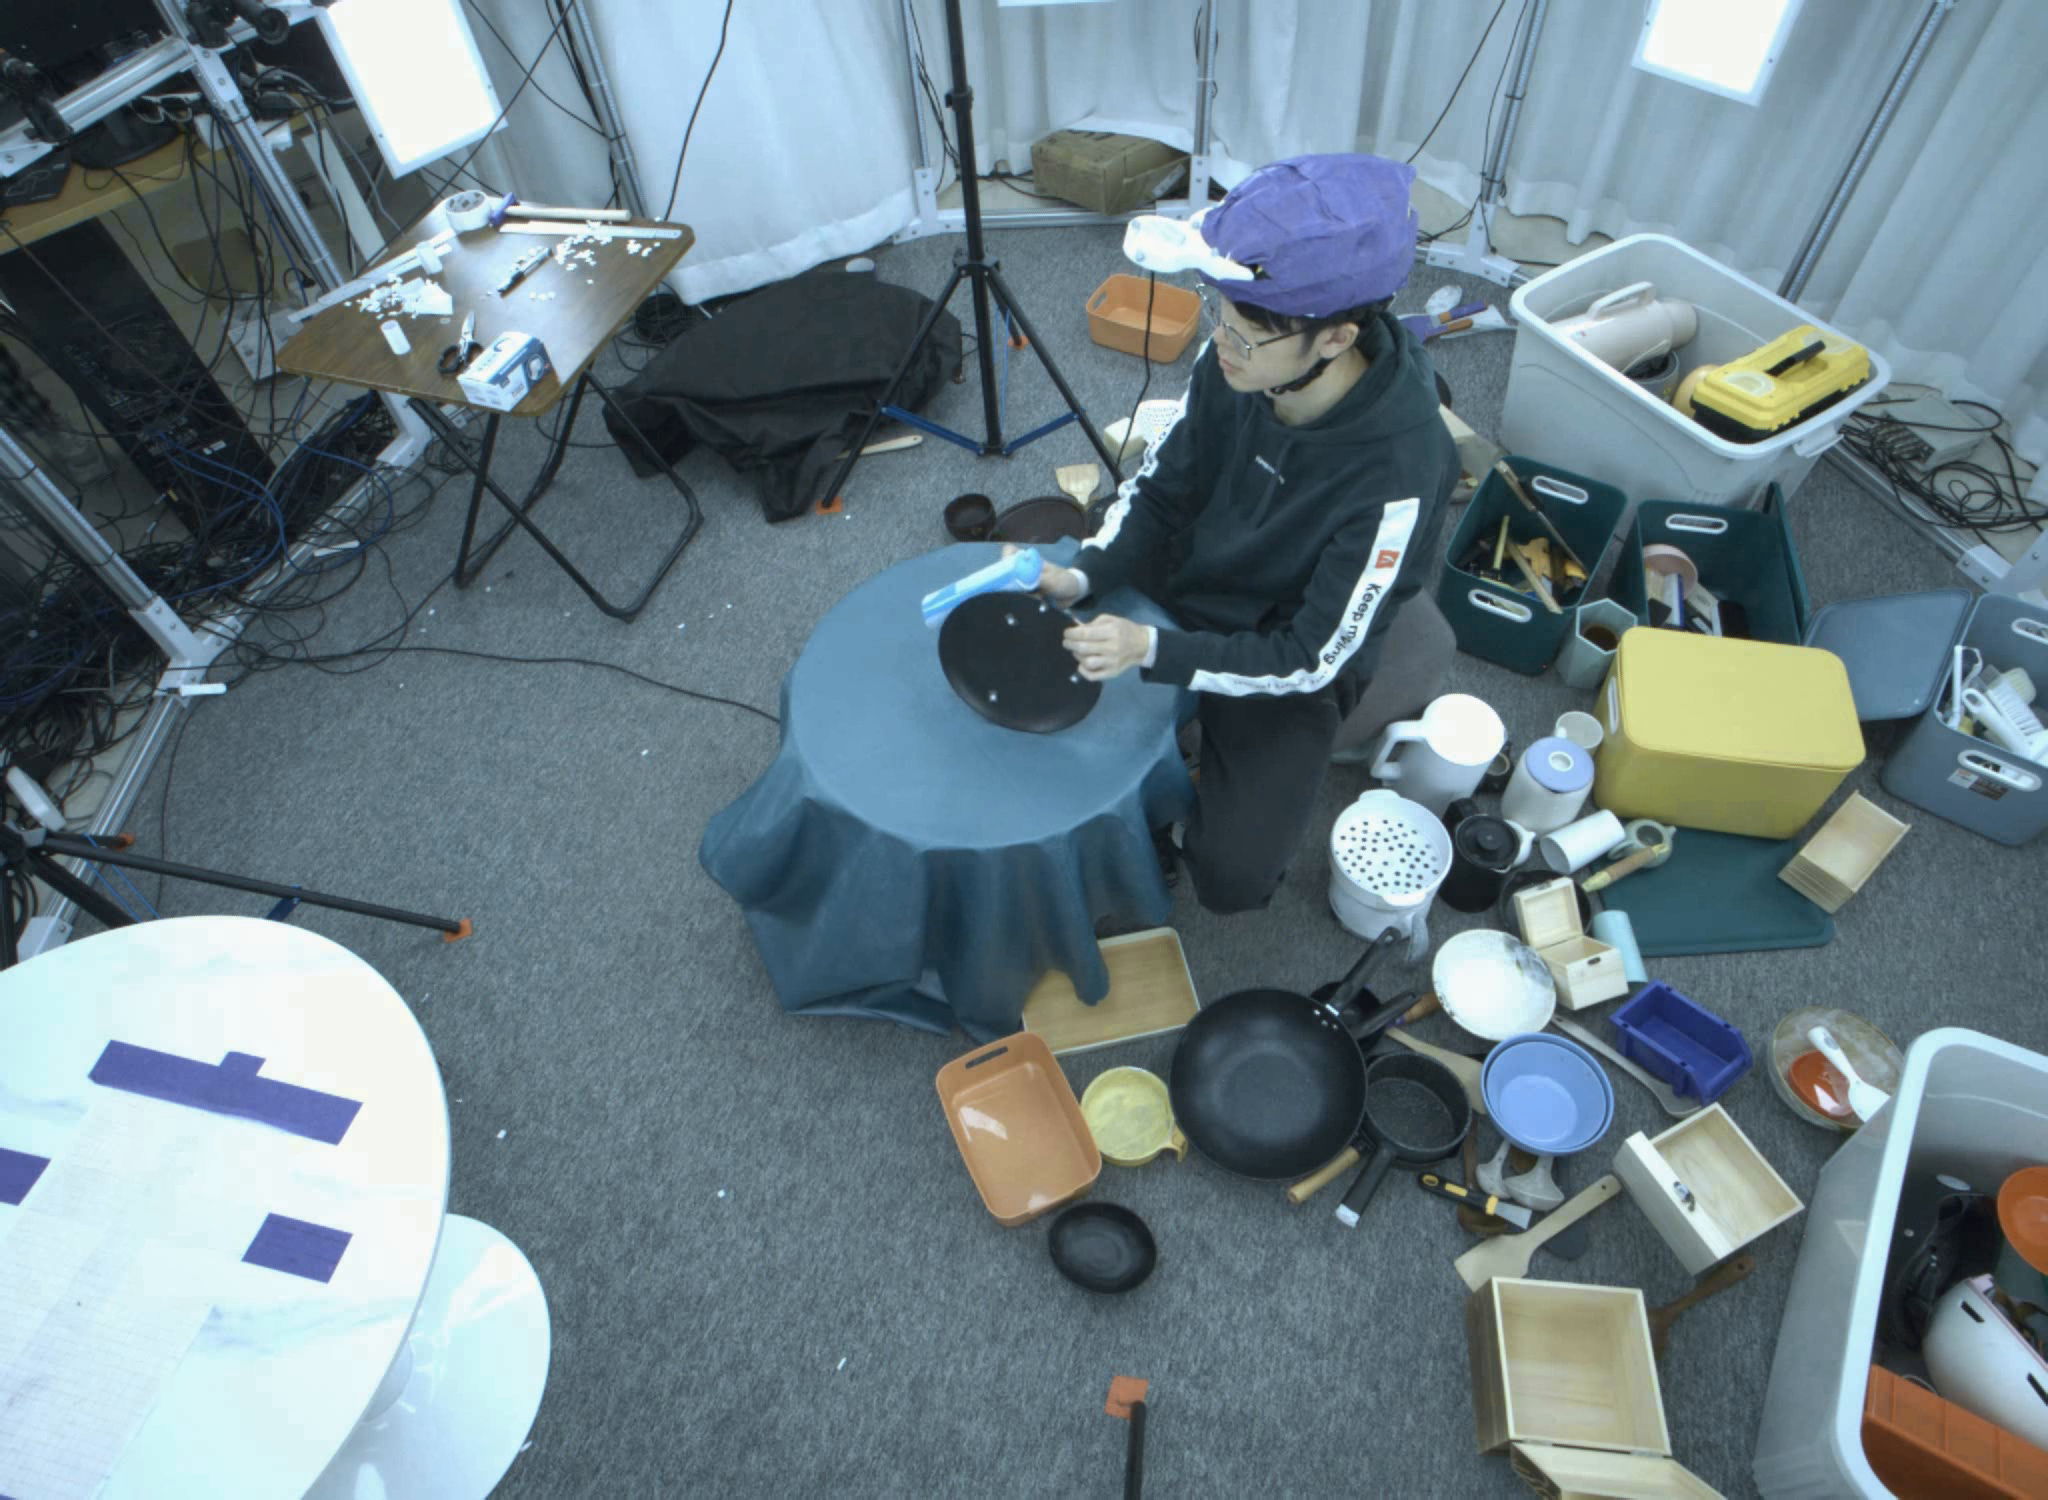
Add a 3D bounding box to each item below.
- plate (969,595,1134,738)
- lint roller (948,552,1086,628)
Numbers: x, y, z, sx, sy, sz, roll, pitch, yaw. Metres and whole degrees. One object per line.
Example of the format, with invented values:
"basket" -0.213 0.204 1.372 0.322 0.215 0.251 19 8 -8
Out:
"plate" 0.039 -0.119 1.723 0.242 0.246 0.023 13 44 12
"lint roller" 0.017 -0.222 1.747 0.184 0.225 0.068 -4 81 -49
